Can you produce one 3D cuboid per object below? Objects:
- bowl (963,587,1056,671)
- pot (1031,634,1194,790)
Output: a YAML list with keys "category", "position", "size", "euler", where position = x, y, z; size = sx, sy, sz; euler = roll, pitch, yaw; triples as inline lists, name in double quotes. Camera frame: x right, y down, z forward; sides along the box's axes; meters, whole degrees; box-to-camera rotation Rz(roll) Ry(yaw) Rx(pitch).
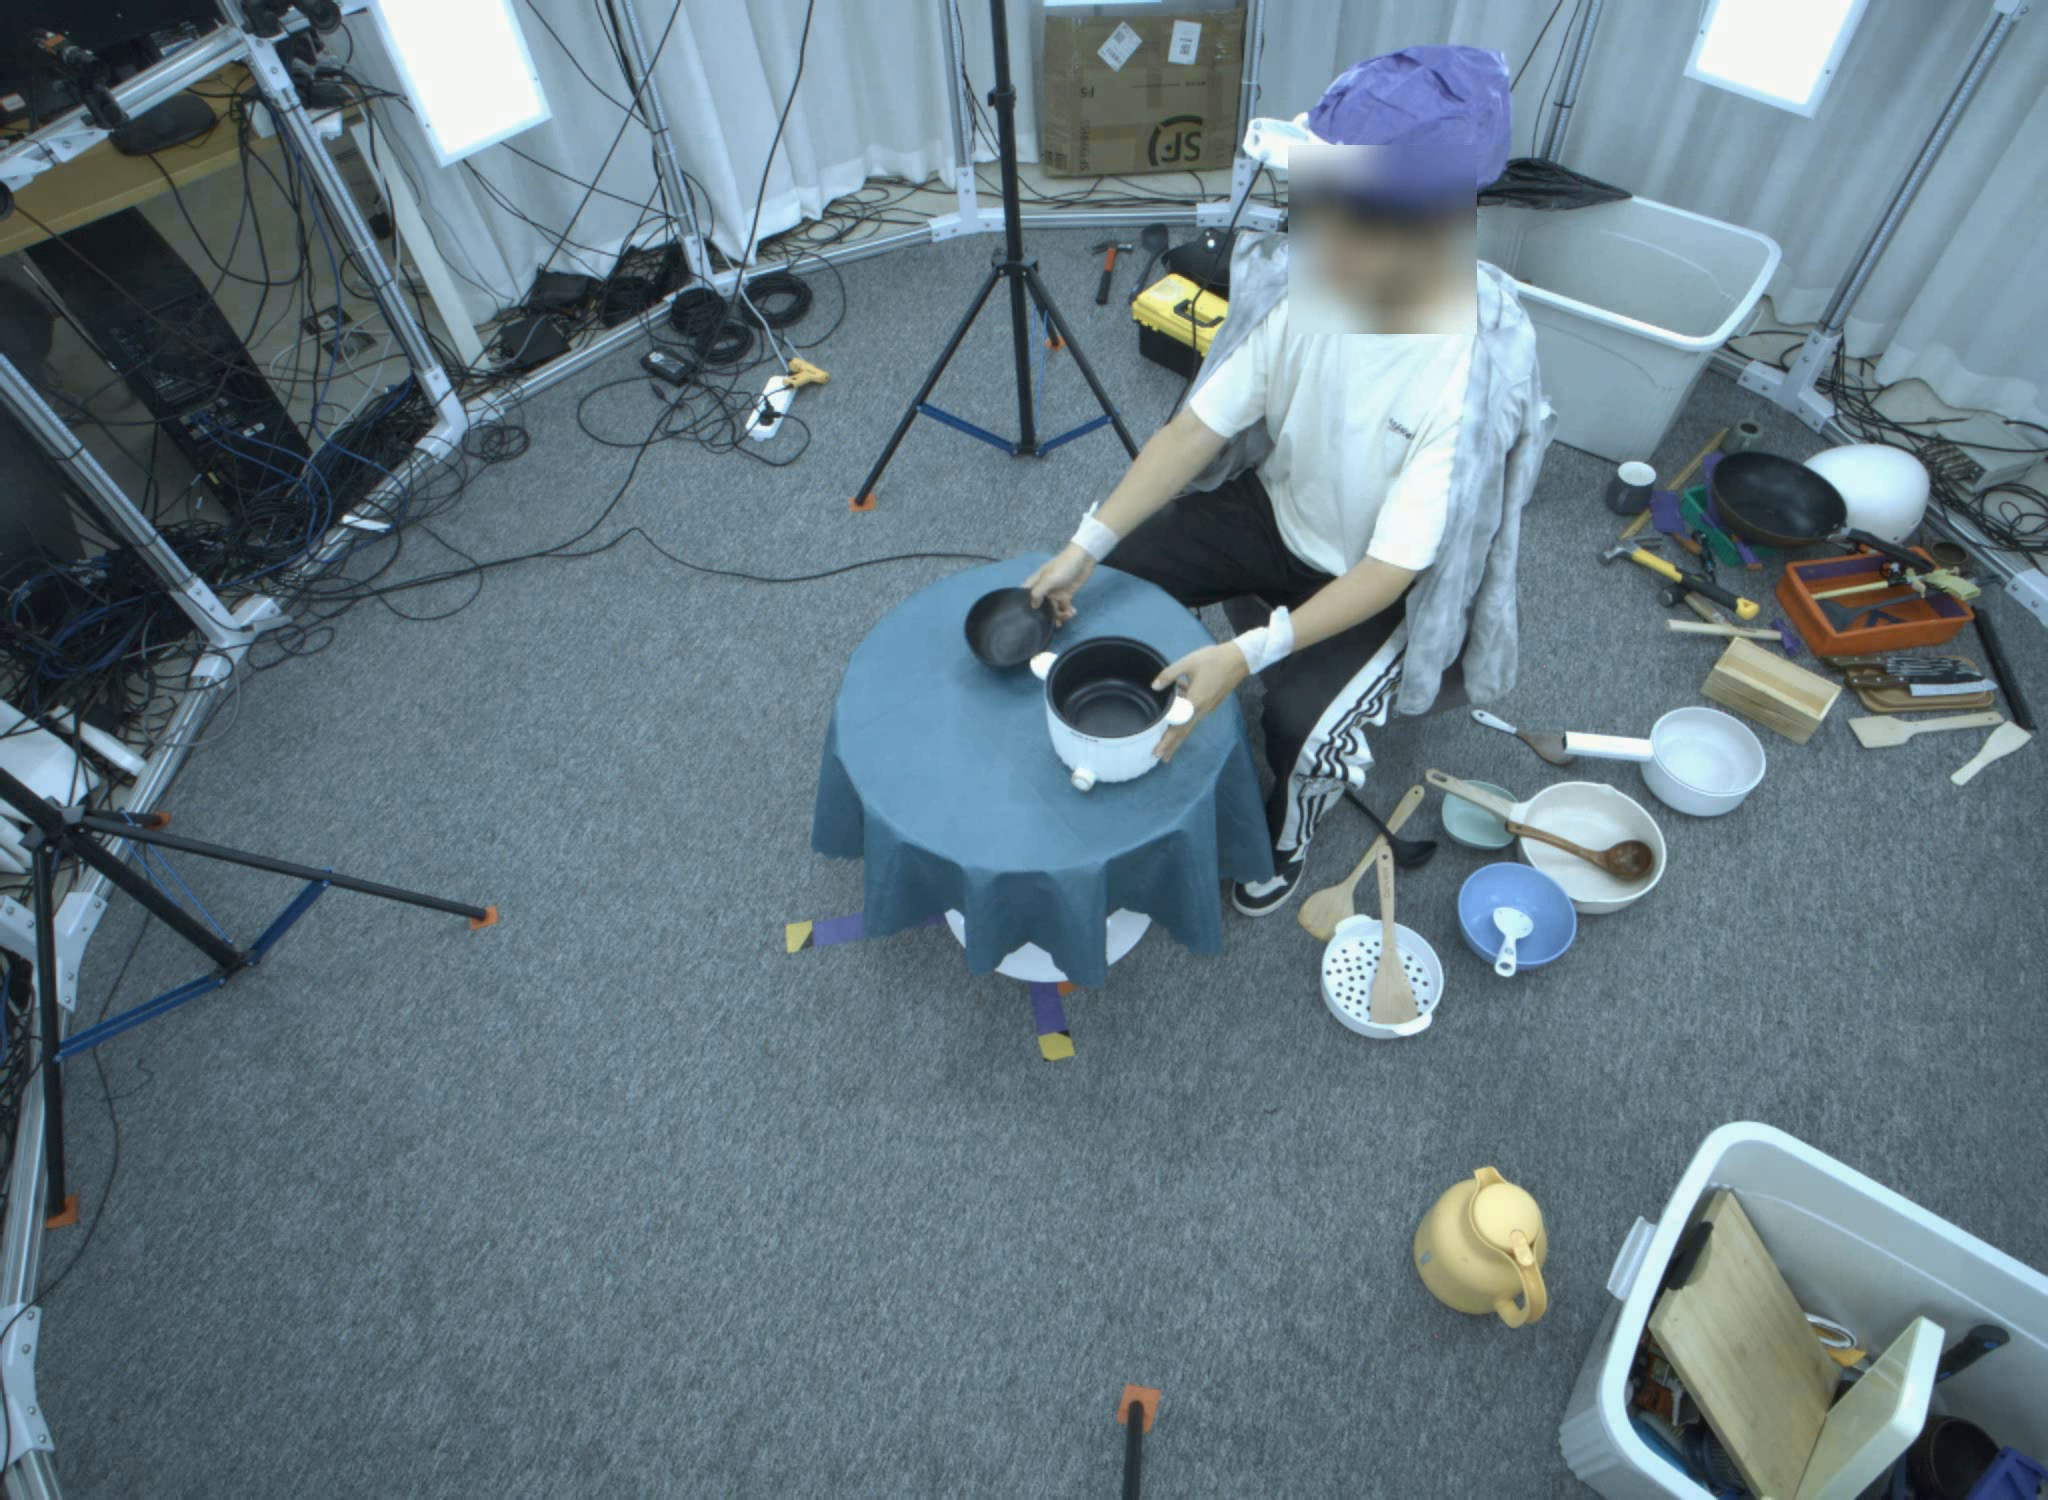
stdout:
- category: "bowl"
  position: [-0.021, -0.178, 1.877]
  size: [0.136, 0.067, 0.170]
  euler: [13, 55, 9]
- category: "pot"
  position: [0.120, -0.047, 1.734]
  size: [0.237, 0.144, 0.191]
  euler: [20, 55, 16]
